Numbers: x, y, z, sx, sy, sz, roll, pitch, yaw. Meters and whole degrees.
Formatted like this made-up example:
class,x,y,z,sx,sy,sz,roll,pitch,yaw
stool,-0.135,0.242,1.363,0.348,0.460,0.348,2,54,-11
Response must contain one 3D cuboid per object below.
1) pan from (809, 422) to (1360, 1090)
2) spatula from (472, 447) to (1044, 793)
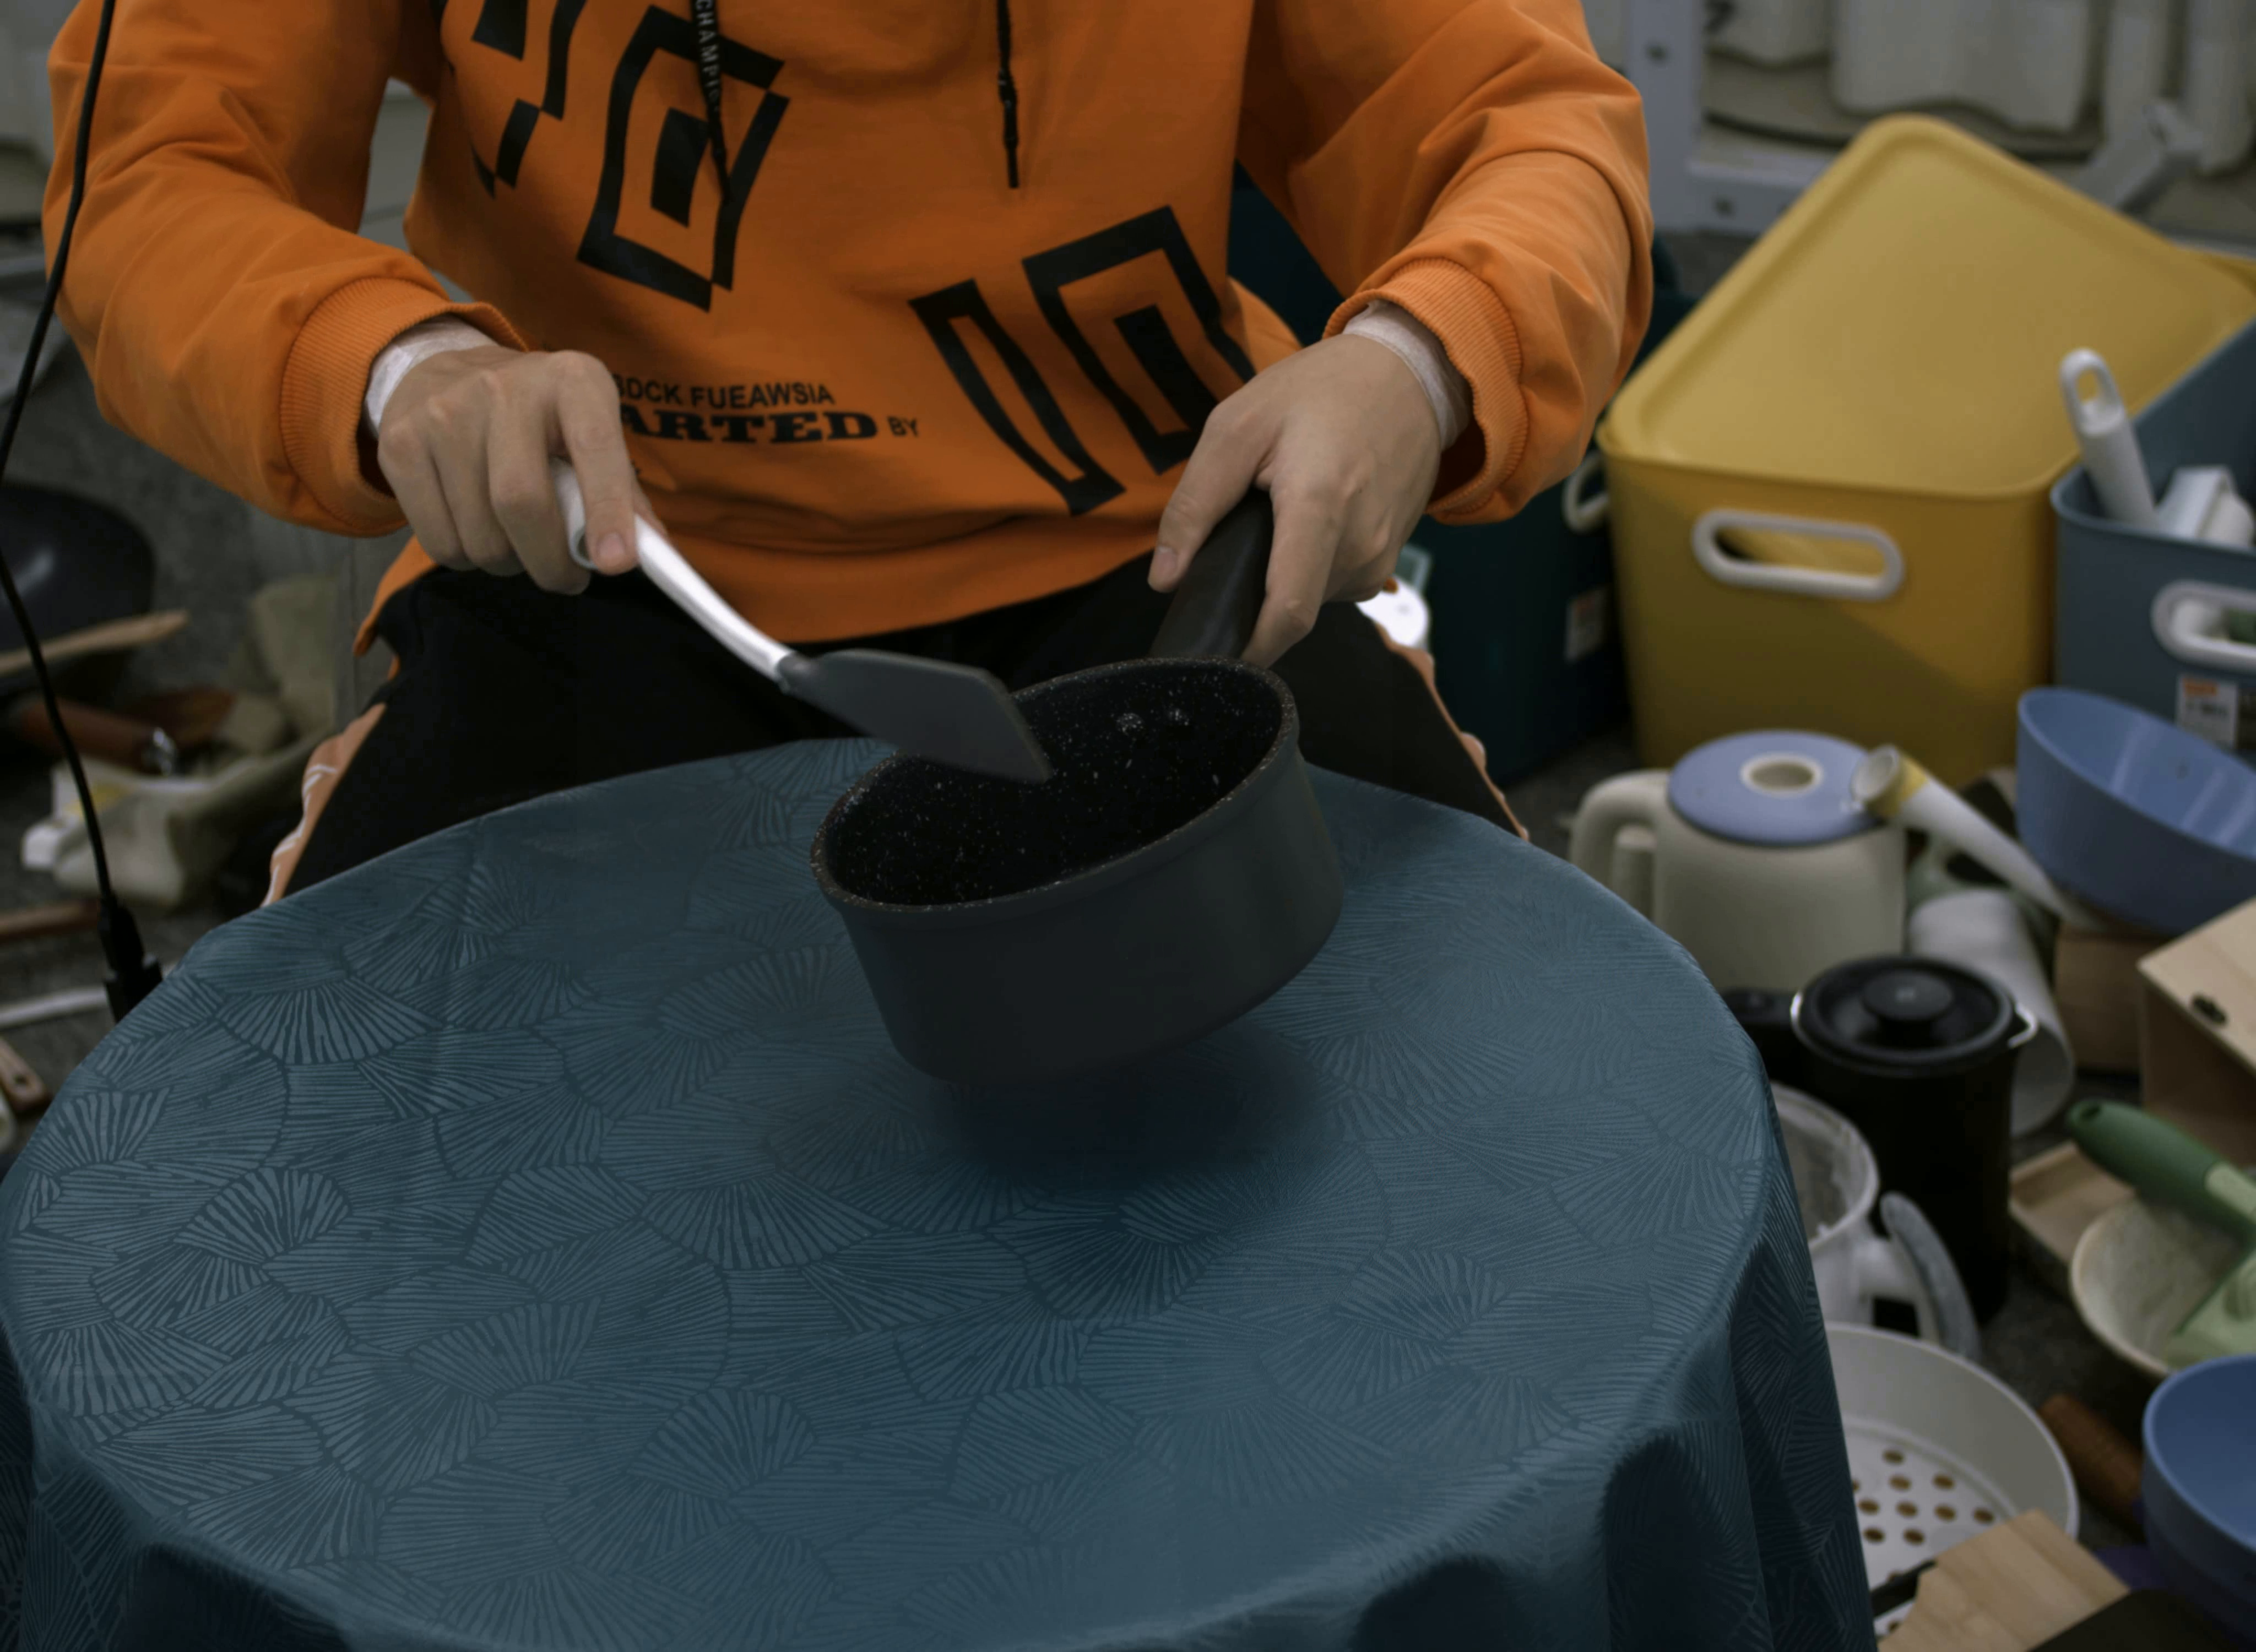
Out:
class,x,y,z,sx,sy,sz,roll,pitch,yaw
pan,0.015,-0.027,1.949,0.170,0.086,0.335,-5,28,29
spatula,-0.130,-0.069,1.902,0.032,0.058,0.288,-40,42,-20
